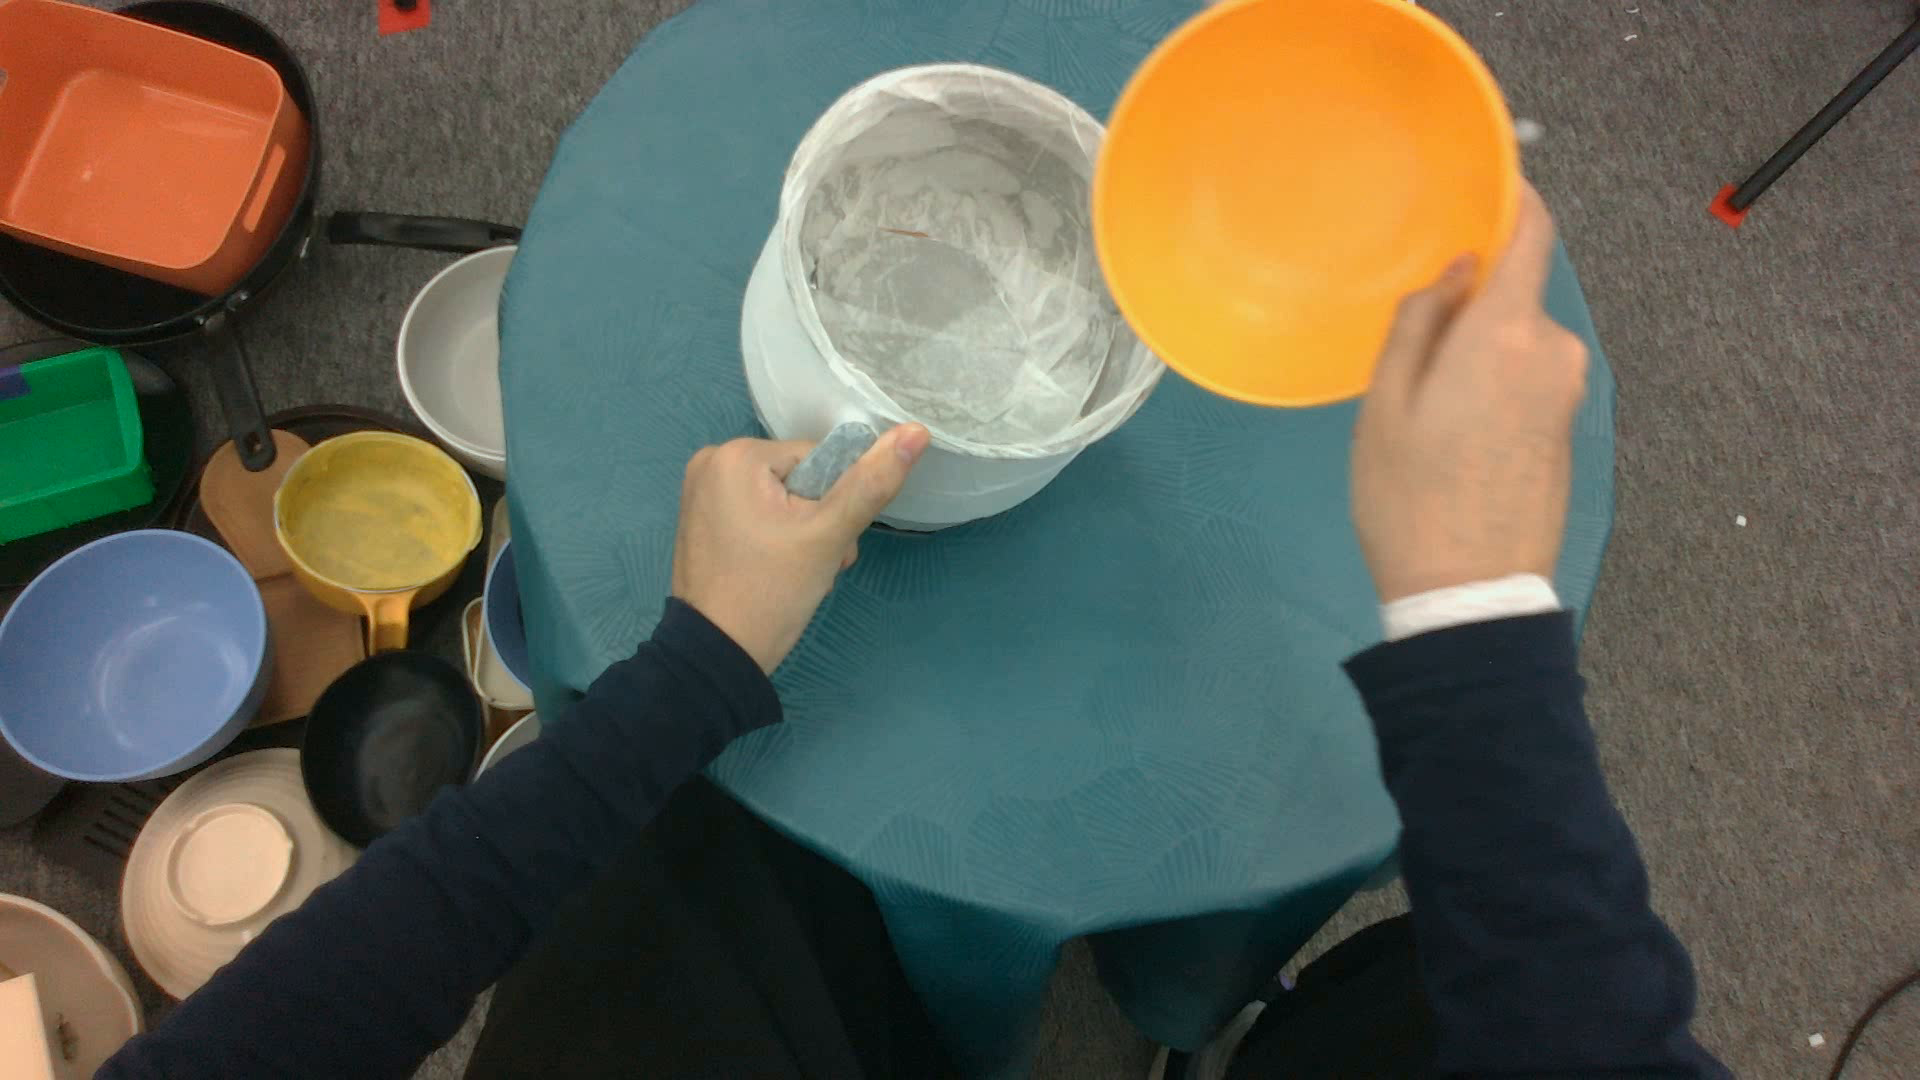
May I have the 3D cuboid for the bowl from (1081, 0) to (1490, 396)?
[{"bbox_3d":[0.121,-0.129,0.499,0.145,0.144,0.060,41,36,8],"label":"bowl"}]

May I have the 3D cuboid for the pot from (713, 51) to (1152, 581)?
[{"bbox_3d":[-0.028,-0.088,0.619,0.178,0.136,0.234,34,67,-6],"label":"pot"}]
